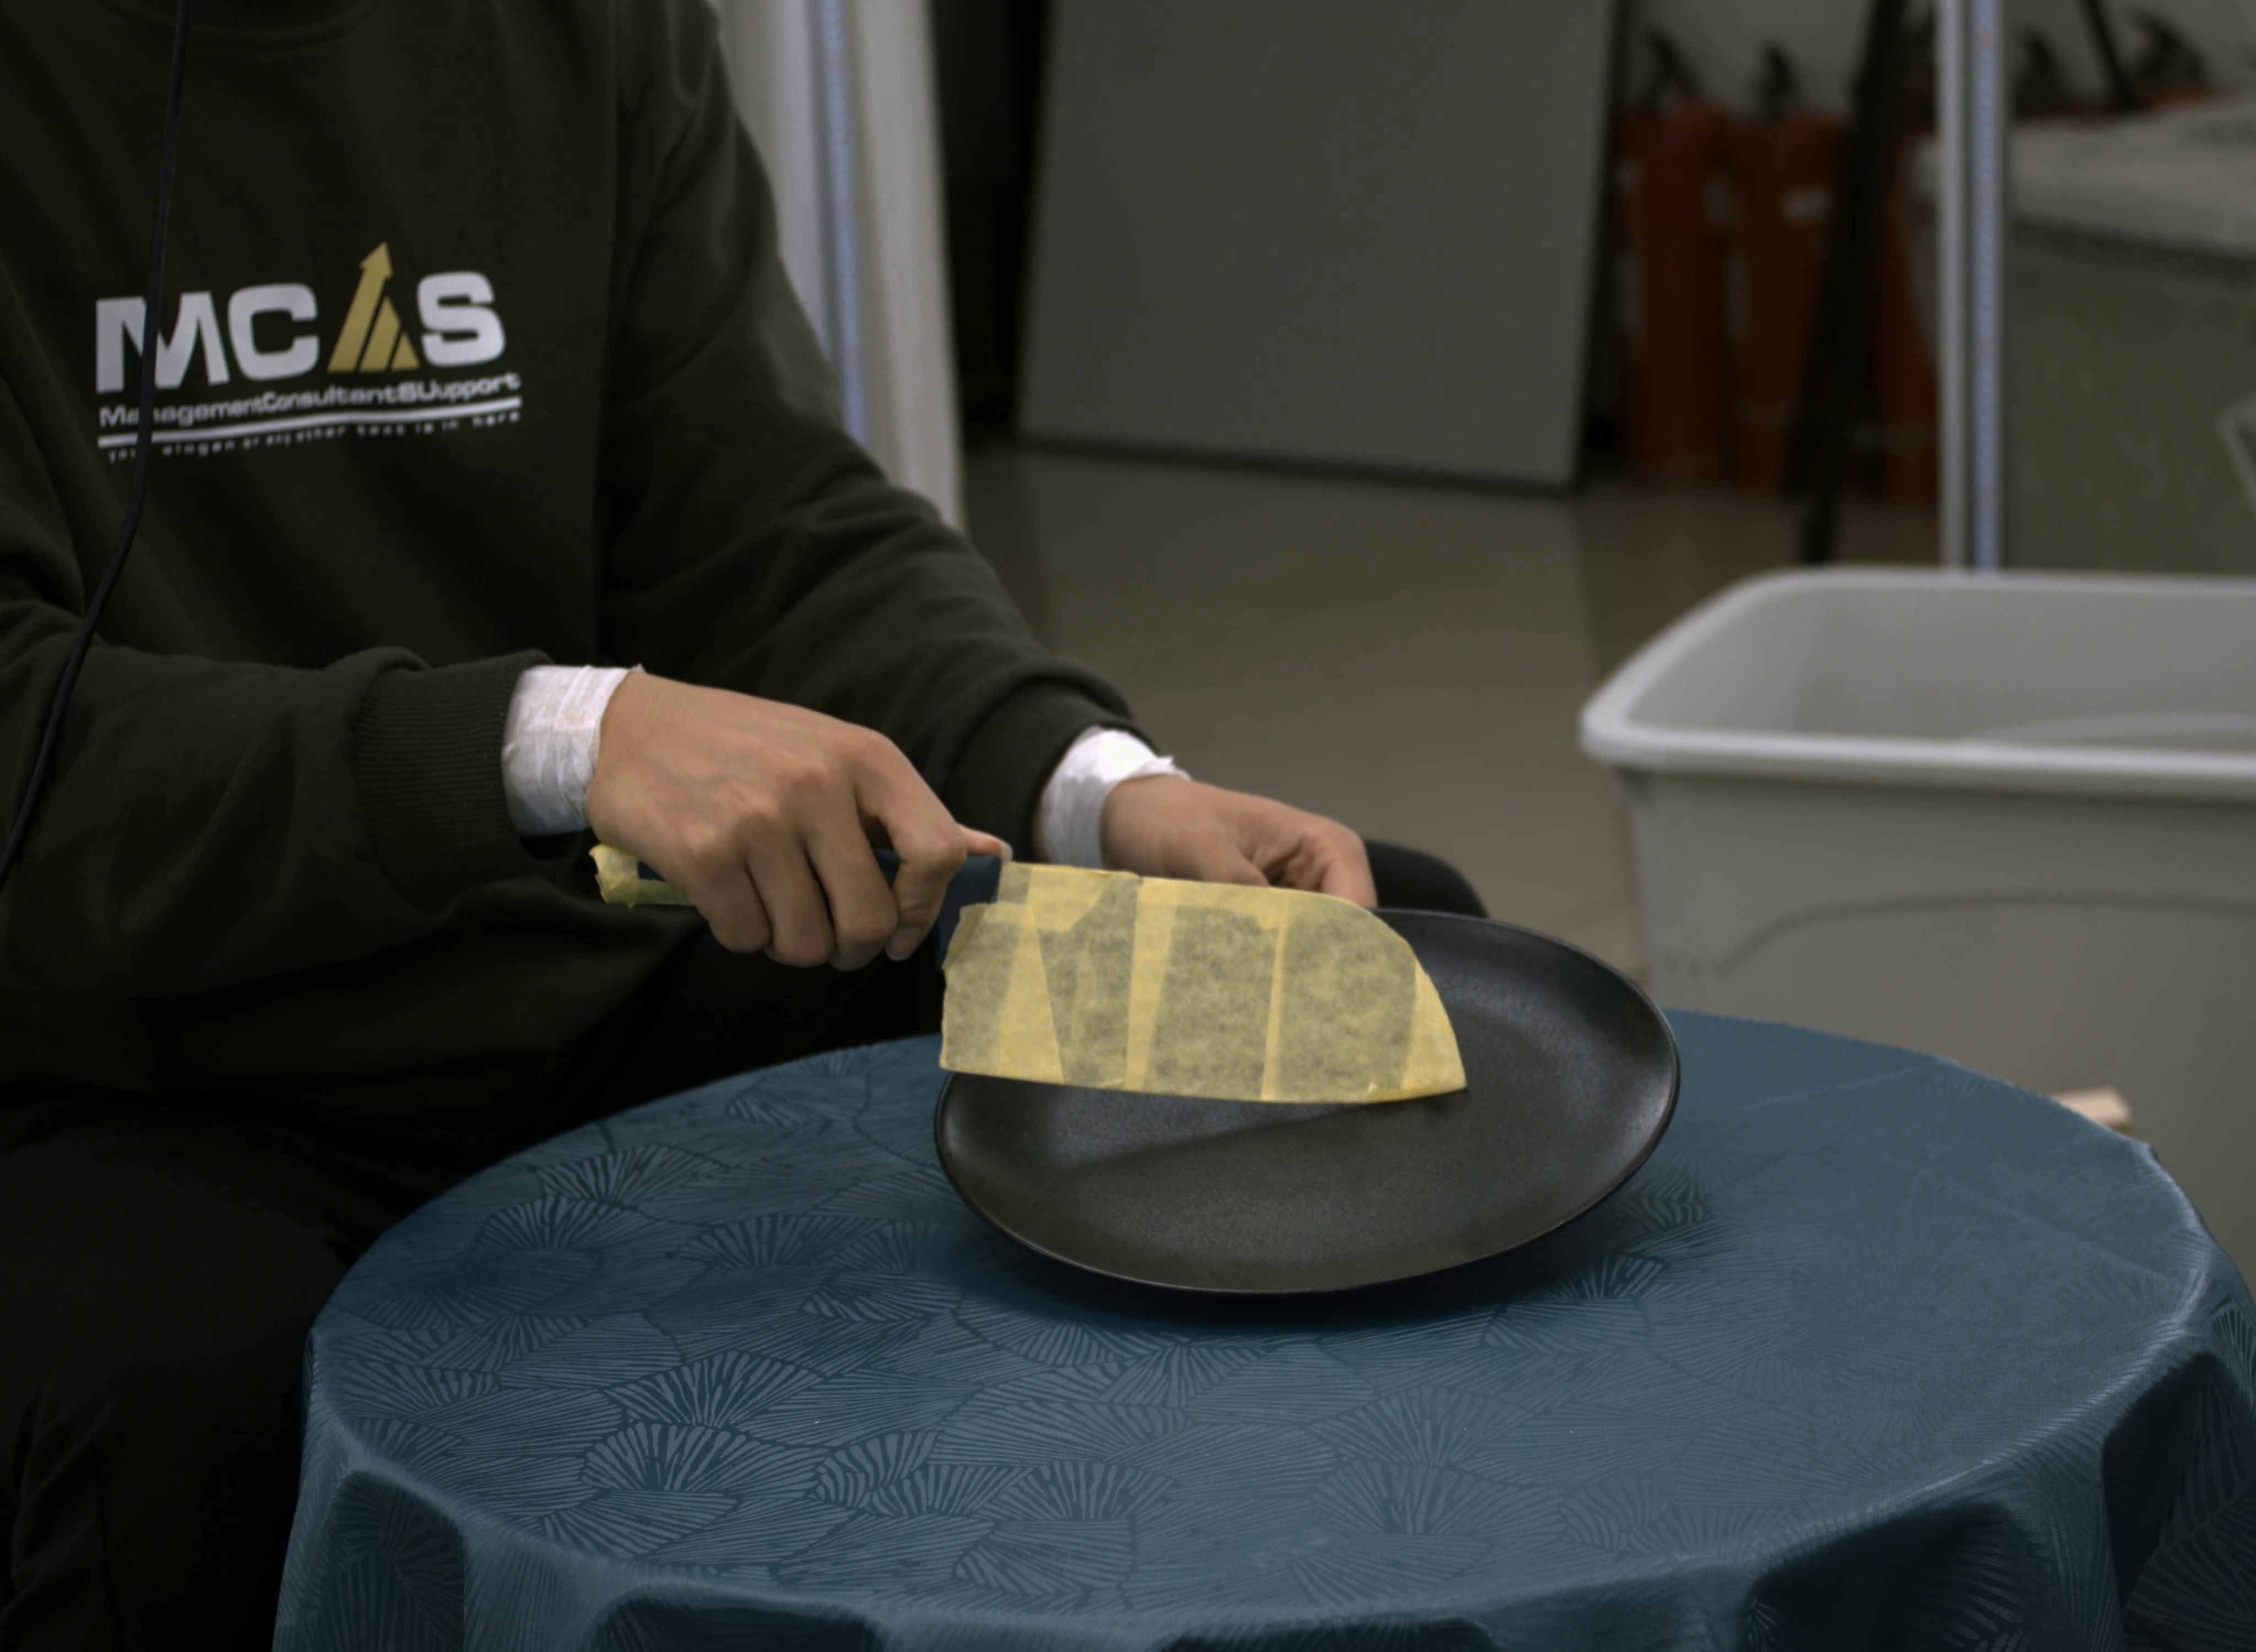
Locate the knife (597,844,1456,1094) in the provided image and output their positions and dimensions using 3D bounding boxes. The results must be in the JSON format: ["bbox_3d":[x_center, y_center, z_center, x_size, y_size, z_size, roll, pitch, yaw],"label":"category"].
[{"bbox_3d":[-0.034,0.046,1.758,0.286,0.082,0.027,7,-18,5],"label":"knife"}]

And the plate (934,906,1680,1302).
[{"bbox_3d":[0.058,0.094,1.734,0.241,0.023,0.245,-6,27,2],"label":"plate"}]
